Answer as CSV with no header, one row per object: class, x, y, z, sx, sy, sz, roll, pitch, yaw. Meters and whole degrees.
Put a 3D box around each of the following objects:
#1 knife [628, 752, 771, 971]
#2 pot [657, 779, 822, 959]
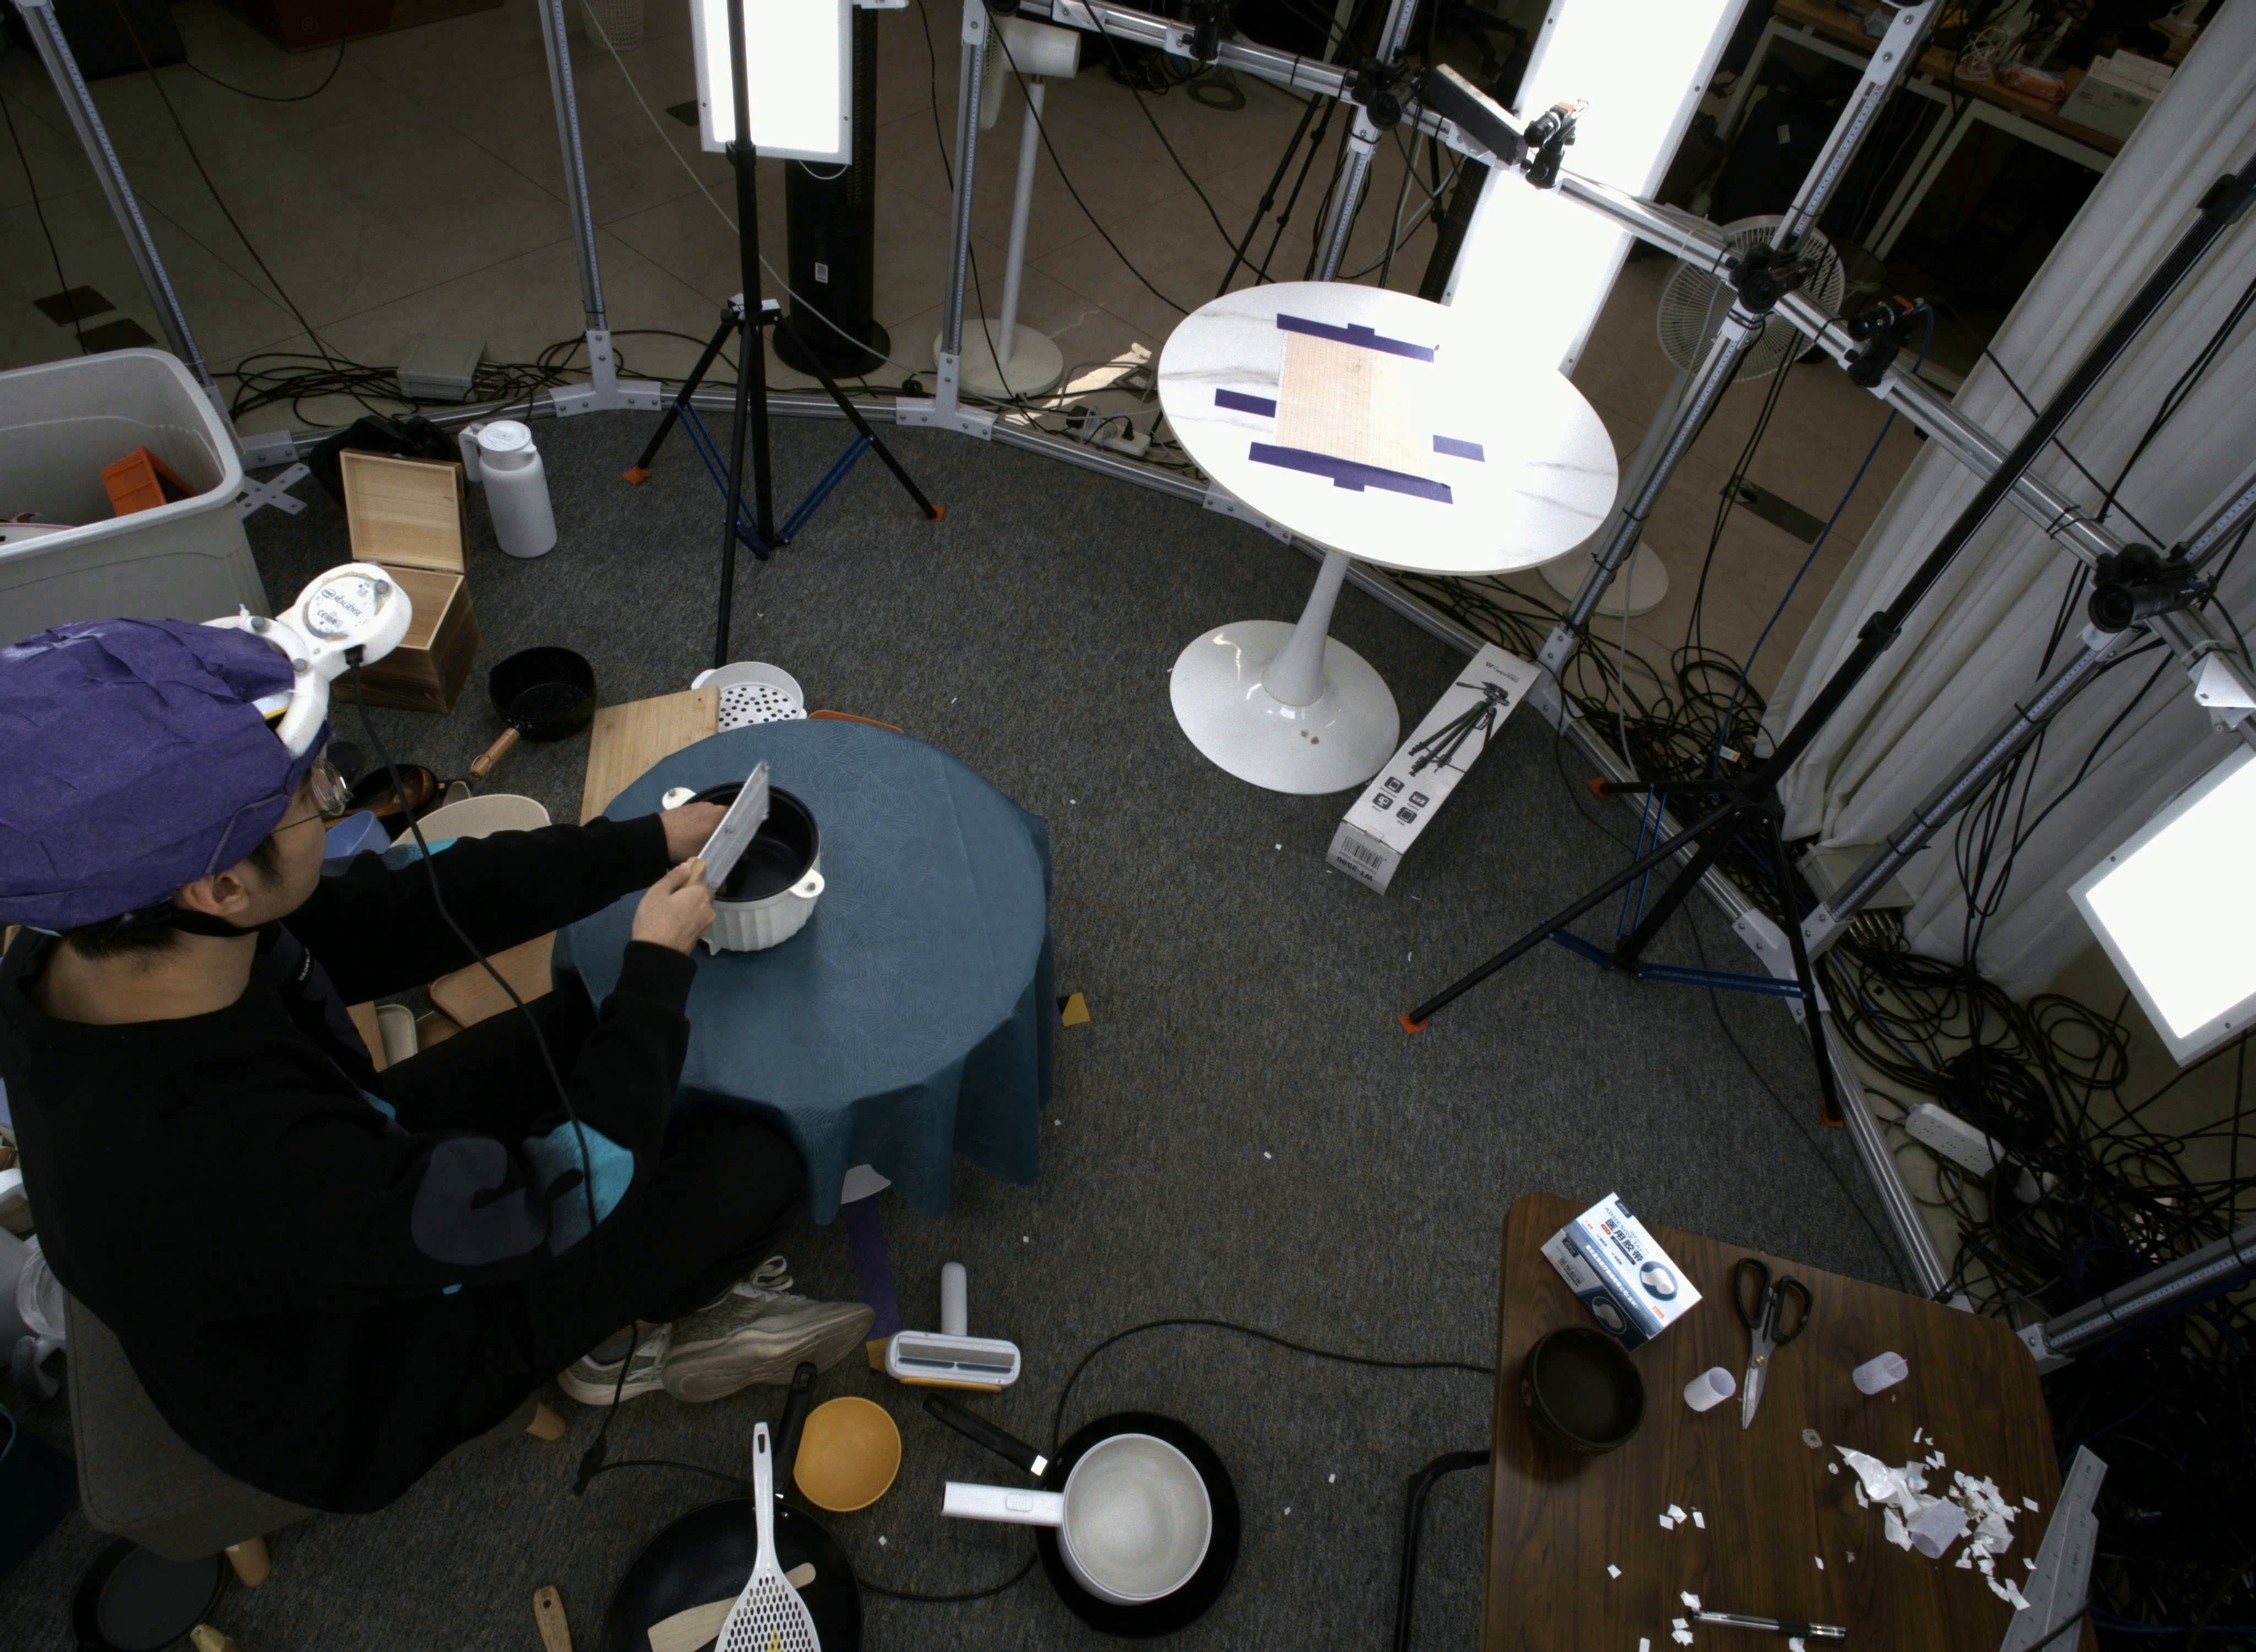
knife,-0.453,0.036,1.386,0.021,0.117,0.311,16,40,3
pot,-0.465,0.052,1.572,0.236,0.145,0.190,31,55,11
